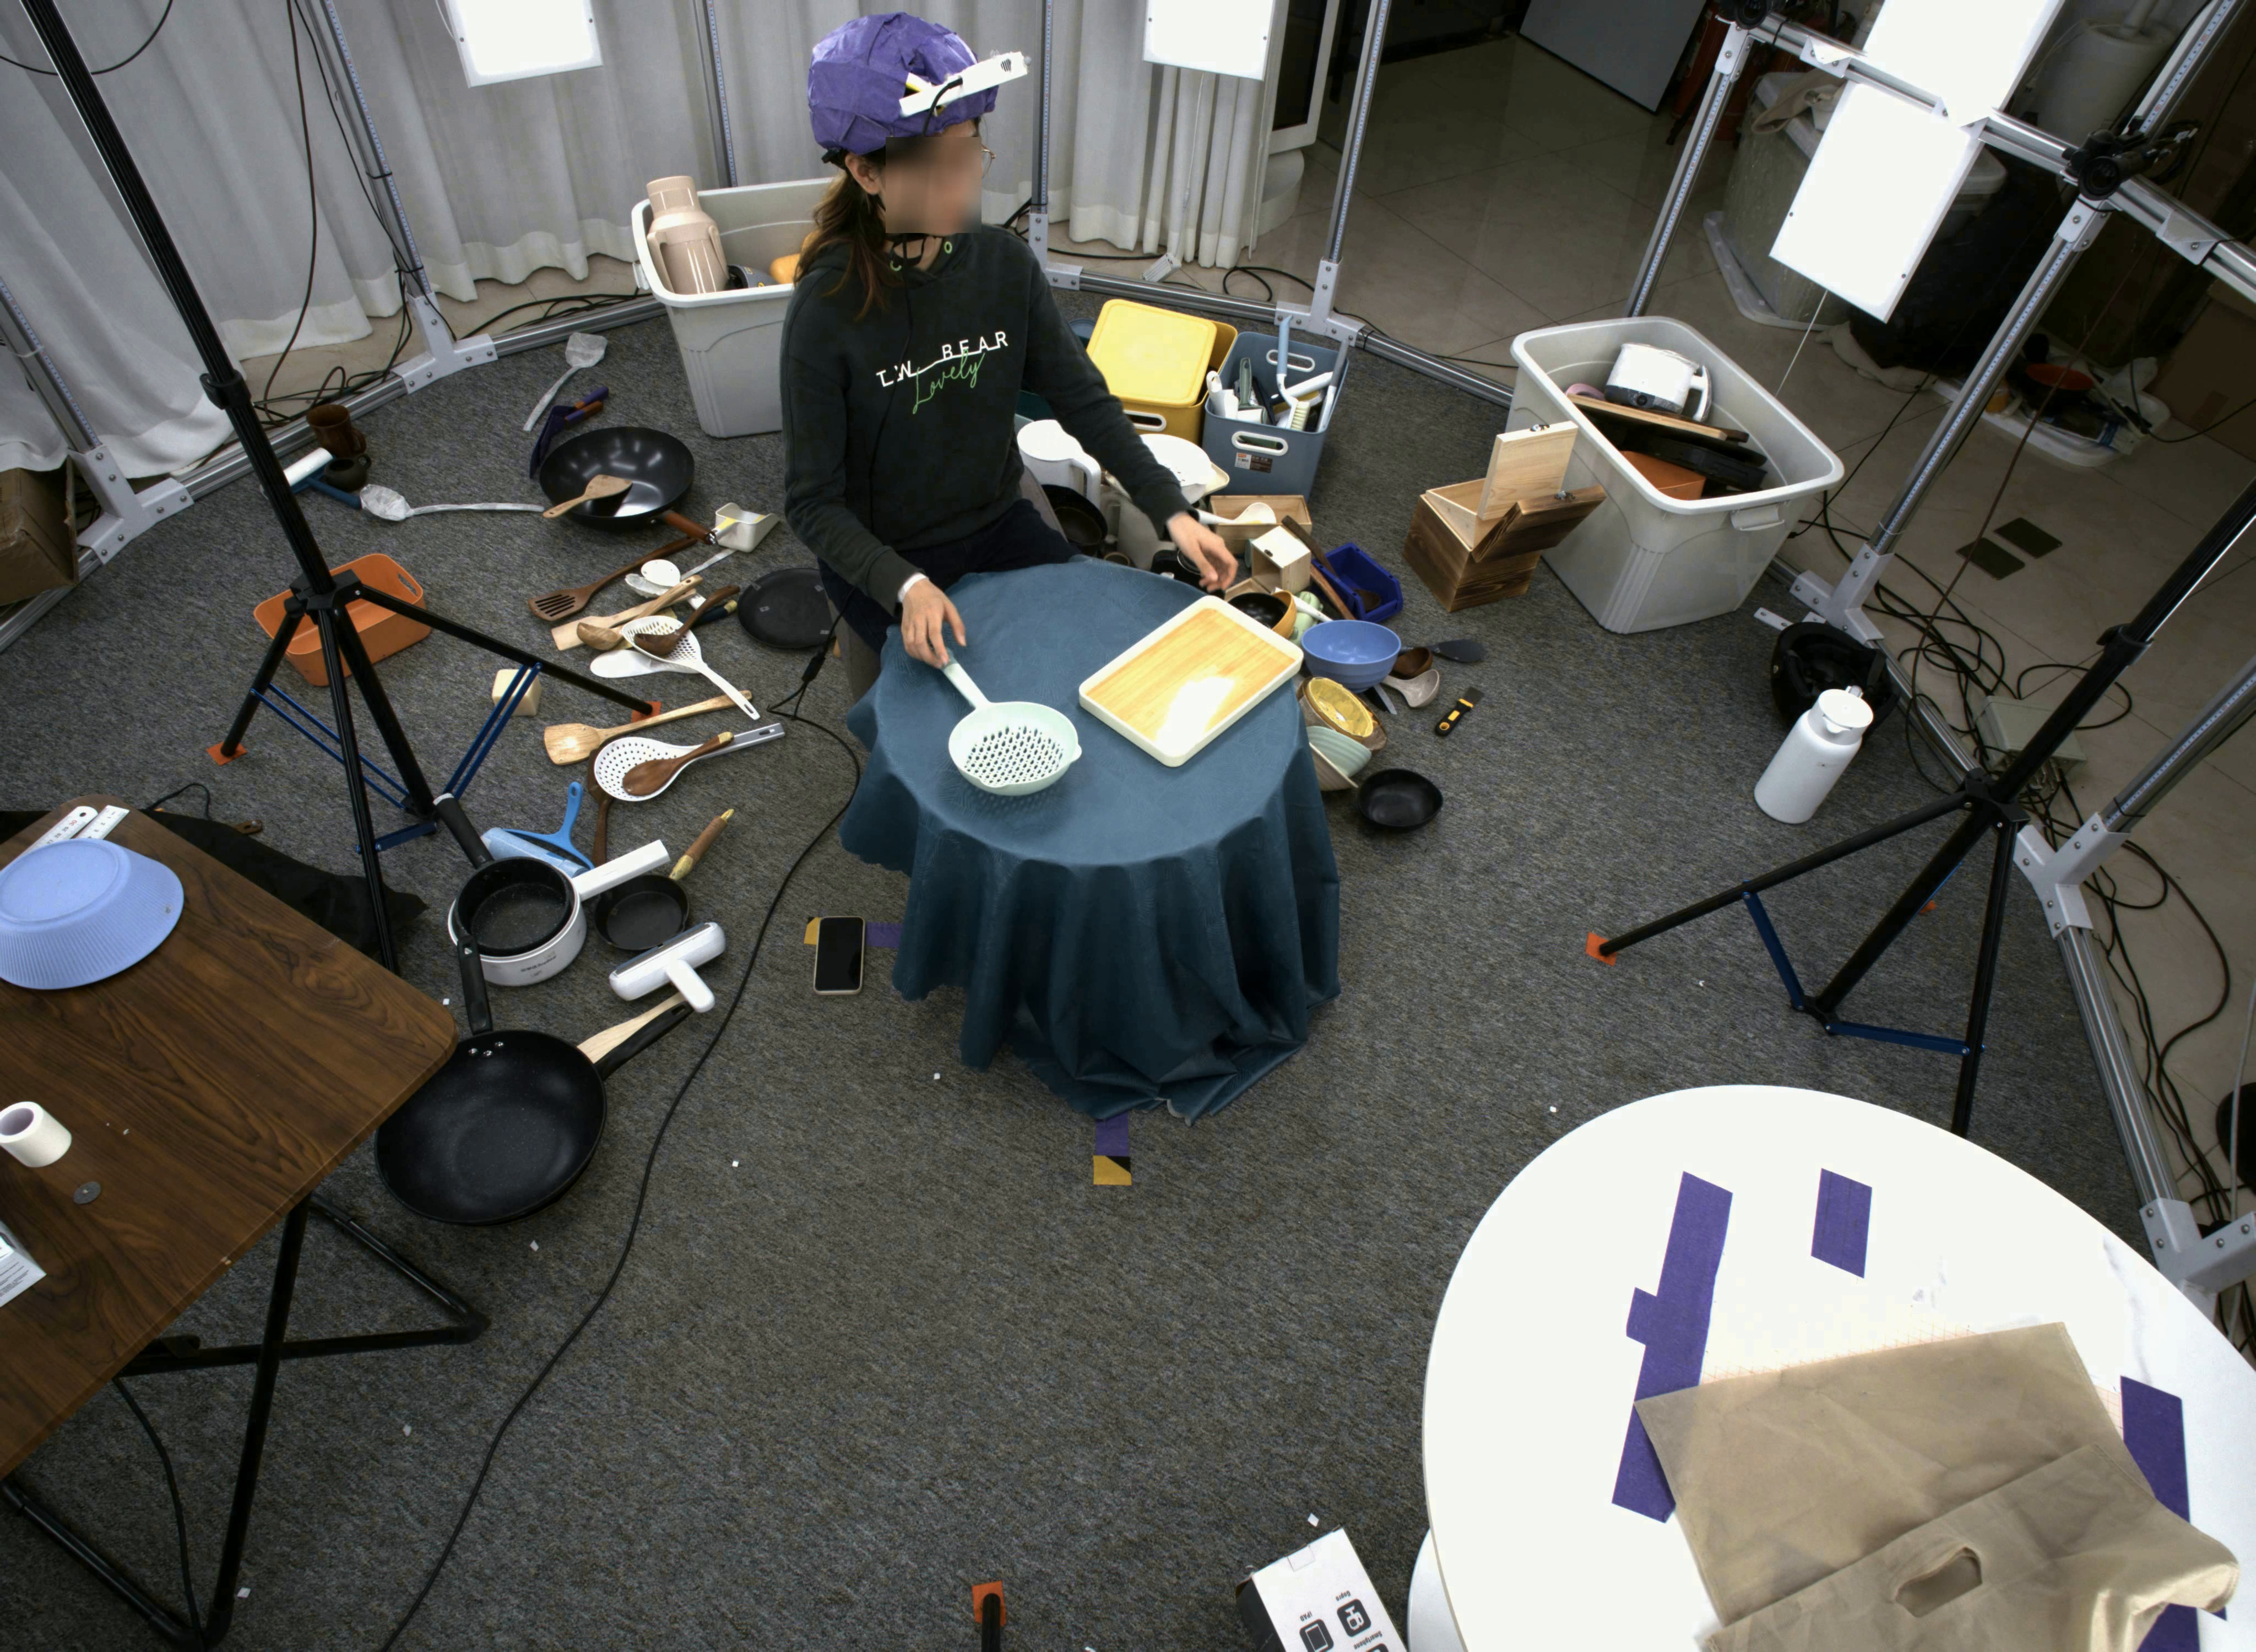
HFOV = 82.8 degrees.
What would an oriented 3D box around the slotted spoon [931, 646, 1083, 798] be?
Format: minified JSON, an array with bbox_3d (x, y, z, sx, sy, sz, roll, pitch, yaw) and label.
[{"bbox_3d":[-0.197,-0.159,1.768,0.170,0.073,0.366,-20,53,-21],"label":"slotted spoon"}]

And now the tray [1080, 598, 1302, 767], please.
[{"bbox_3d":[0.094,-0.214,1.860,0.194,0.027,0.303,36,55,24],"label":"tray"}]
